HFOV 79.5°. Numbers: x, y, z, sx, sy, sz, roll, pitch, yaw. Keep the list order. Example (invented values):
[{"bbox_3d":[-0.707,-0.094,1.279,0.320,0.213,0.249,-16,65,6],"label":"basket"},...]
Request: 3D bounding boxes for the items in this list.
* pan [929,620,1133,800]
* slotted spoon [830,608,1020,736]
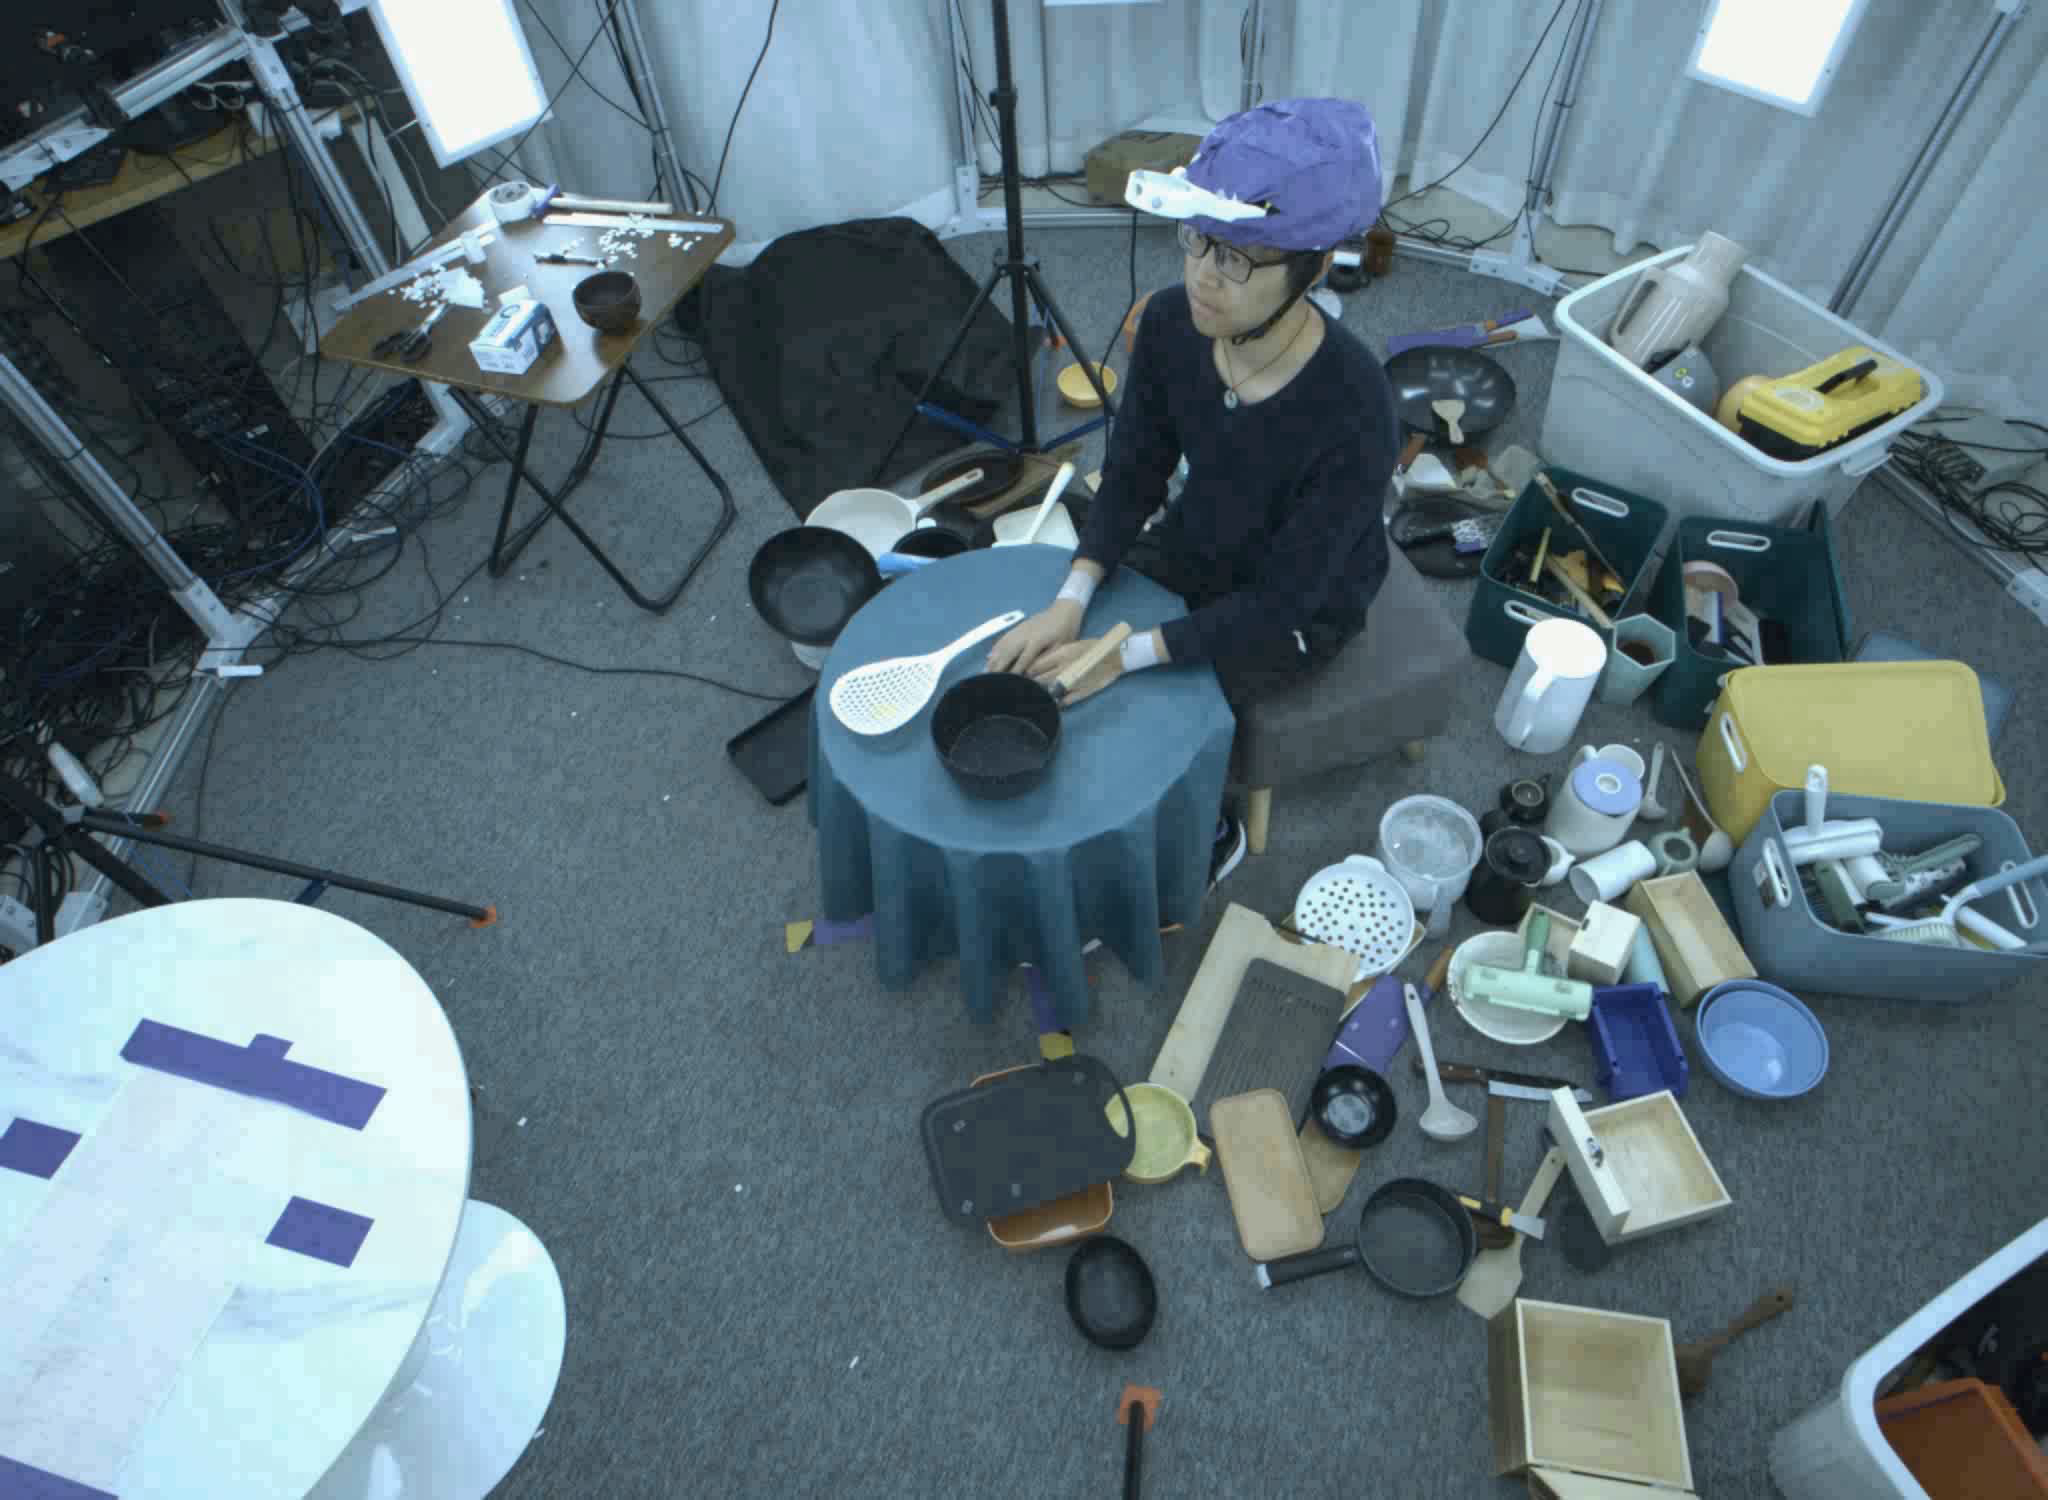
[{"bbox_3d":[0.022,-0.064,1.765,0.345,0.109,0.203,-37,60,-20],"label":"pan"},{"bbox_3d":[-0.135,-0.129,1.857,0.350,0.051,0.134,-38,60,-20],"label":"slotted spoon"}]
